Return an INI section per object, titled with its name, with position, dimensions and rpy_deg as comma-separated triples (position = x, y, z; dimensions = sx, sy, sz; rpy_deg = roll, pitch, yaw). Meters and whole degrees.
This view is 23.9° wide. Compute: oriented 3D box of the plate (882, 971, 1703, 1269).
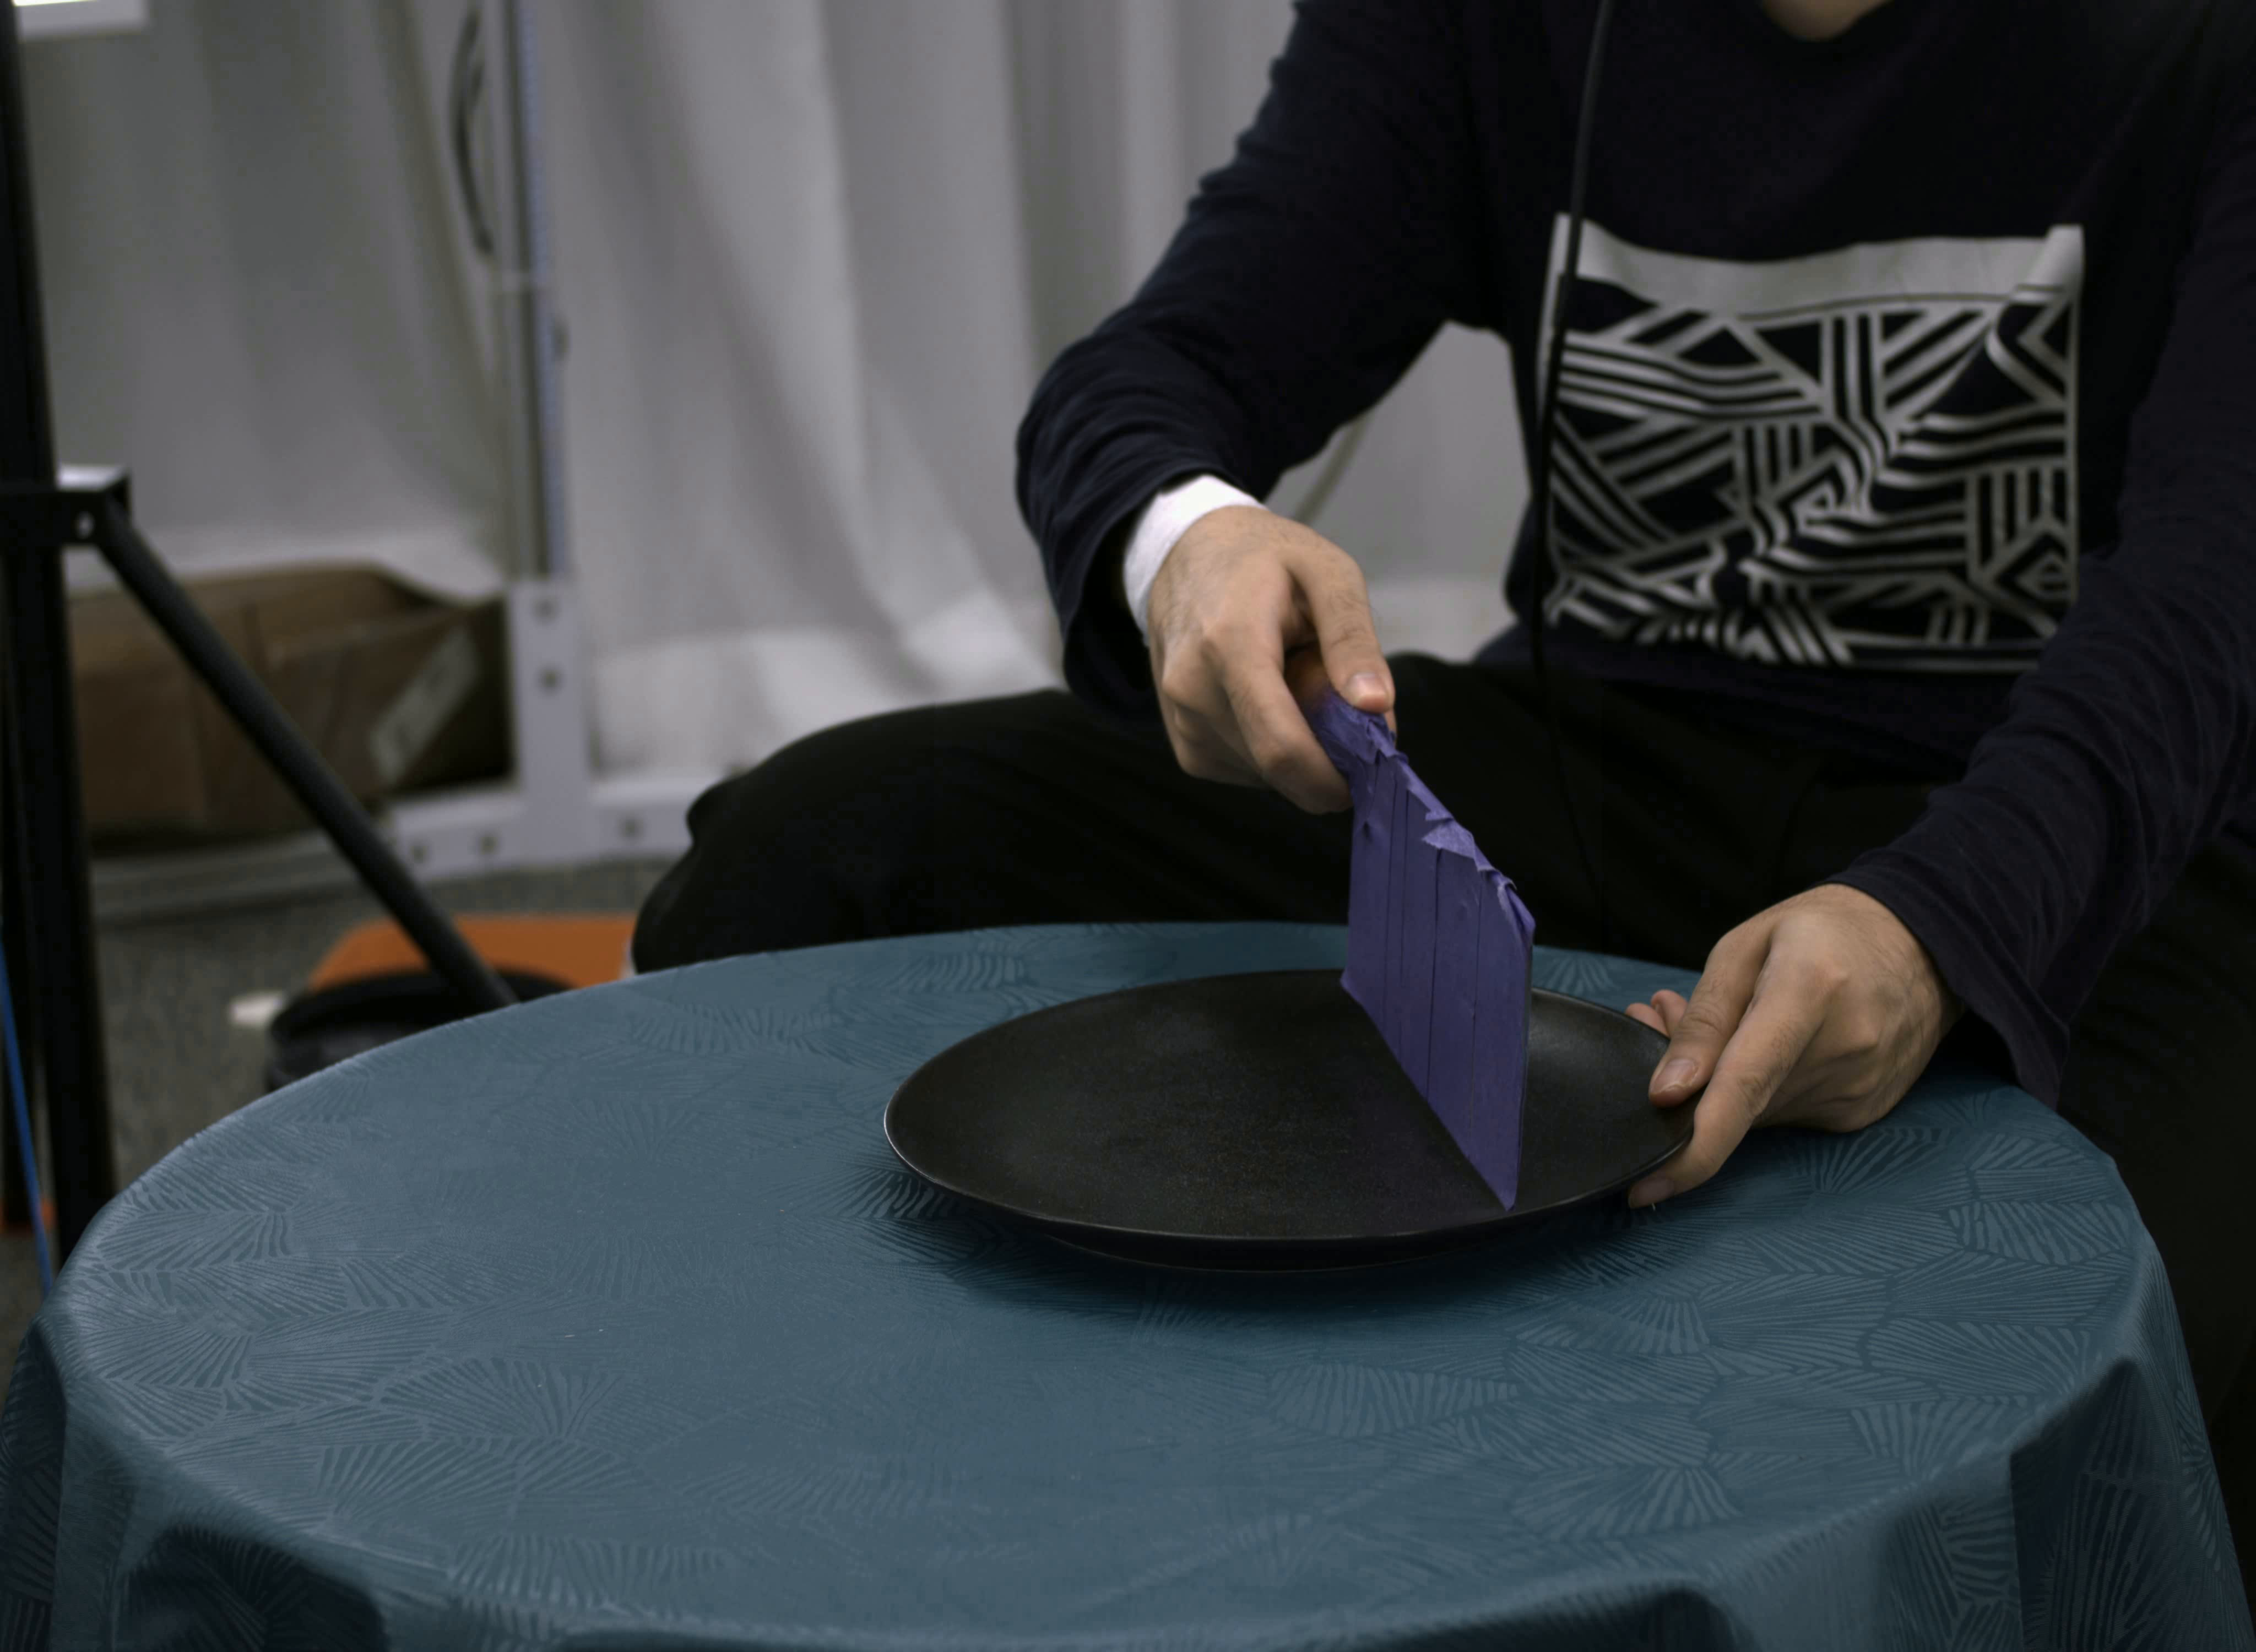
[plate]
position = 0.049, 0.090, 1.573
dimensions = 0.243, 0.023, 0.245
rpy_deg = -4, 16, 0

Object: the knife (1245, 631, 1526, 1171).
[knife]
position = 0.076, 0.020, 1.610
dimensions = 0.032, 0.104, 0.318
rpy_deg = 1, 15, -9
